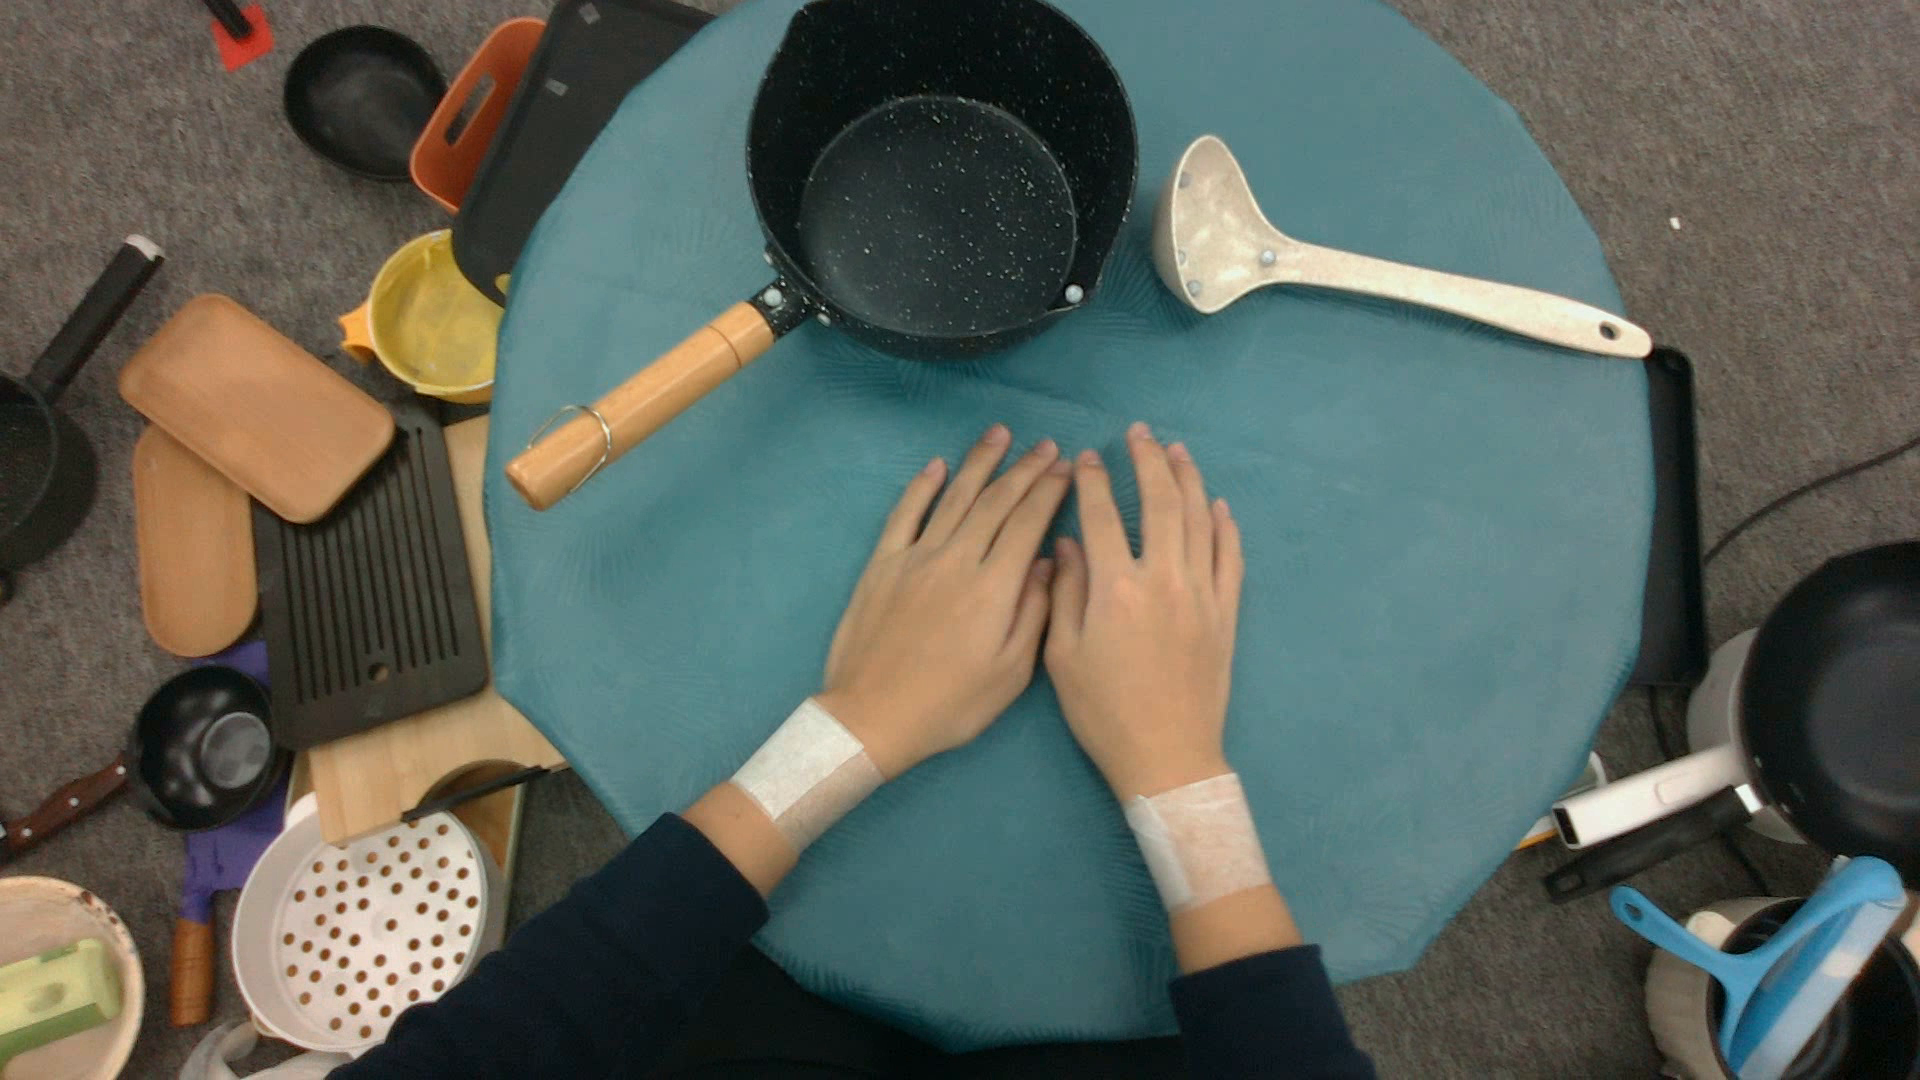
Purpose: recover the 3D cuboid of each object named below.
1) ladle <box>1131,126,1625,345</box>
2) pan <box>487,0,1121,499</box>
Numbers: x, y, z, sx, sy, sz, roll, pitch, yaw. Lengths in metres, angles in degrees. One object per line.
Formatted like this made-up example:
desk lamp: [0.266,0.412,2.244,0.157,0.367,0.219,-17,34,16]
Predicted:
ladle: [0.222,-0.145,0.700,0.275,0.069,0.089,11,71,-1]
pan: [-0.074,-0.127,0.658,0.207,0.108,0.343,45,78,5]
